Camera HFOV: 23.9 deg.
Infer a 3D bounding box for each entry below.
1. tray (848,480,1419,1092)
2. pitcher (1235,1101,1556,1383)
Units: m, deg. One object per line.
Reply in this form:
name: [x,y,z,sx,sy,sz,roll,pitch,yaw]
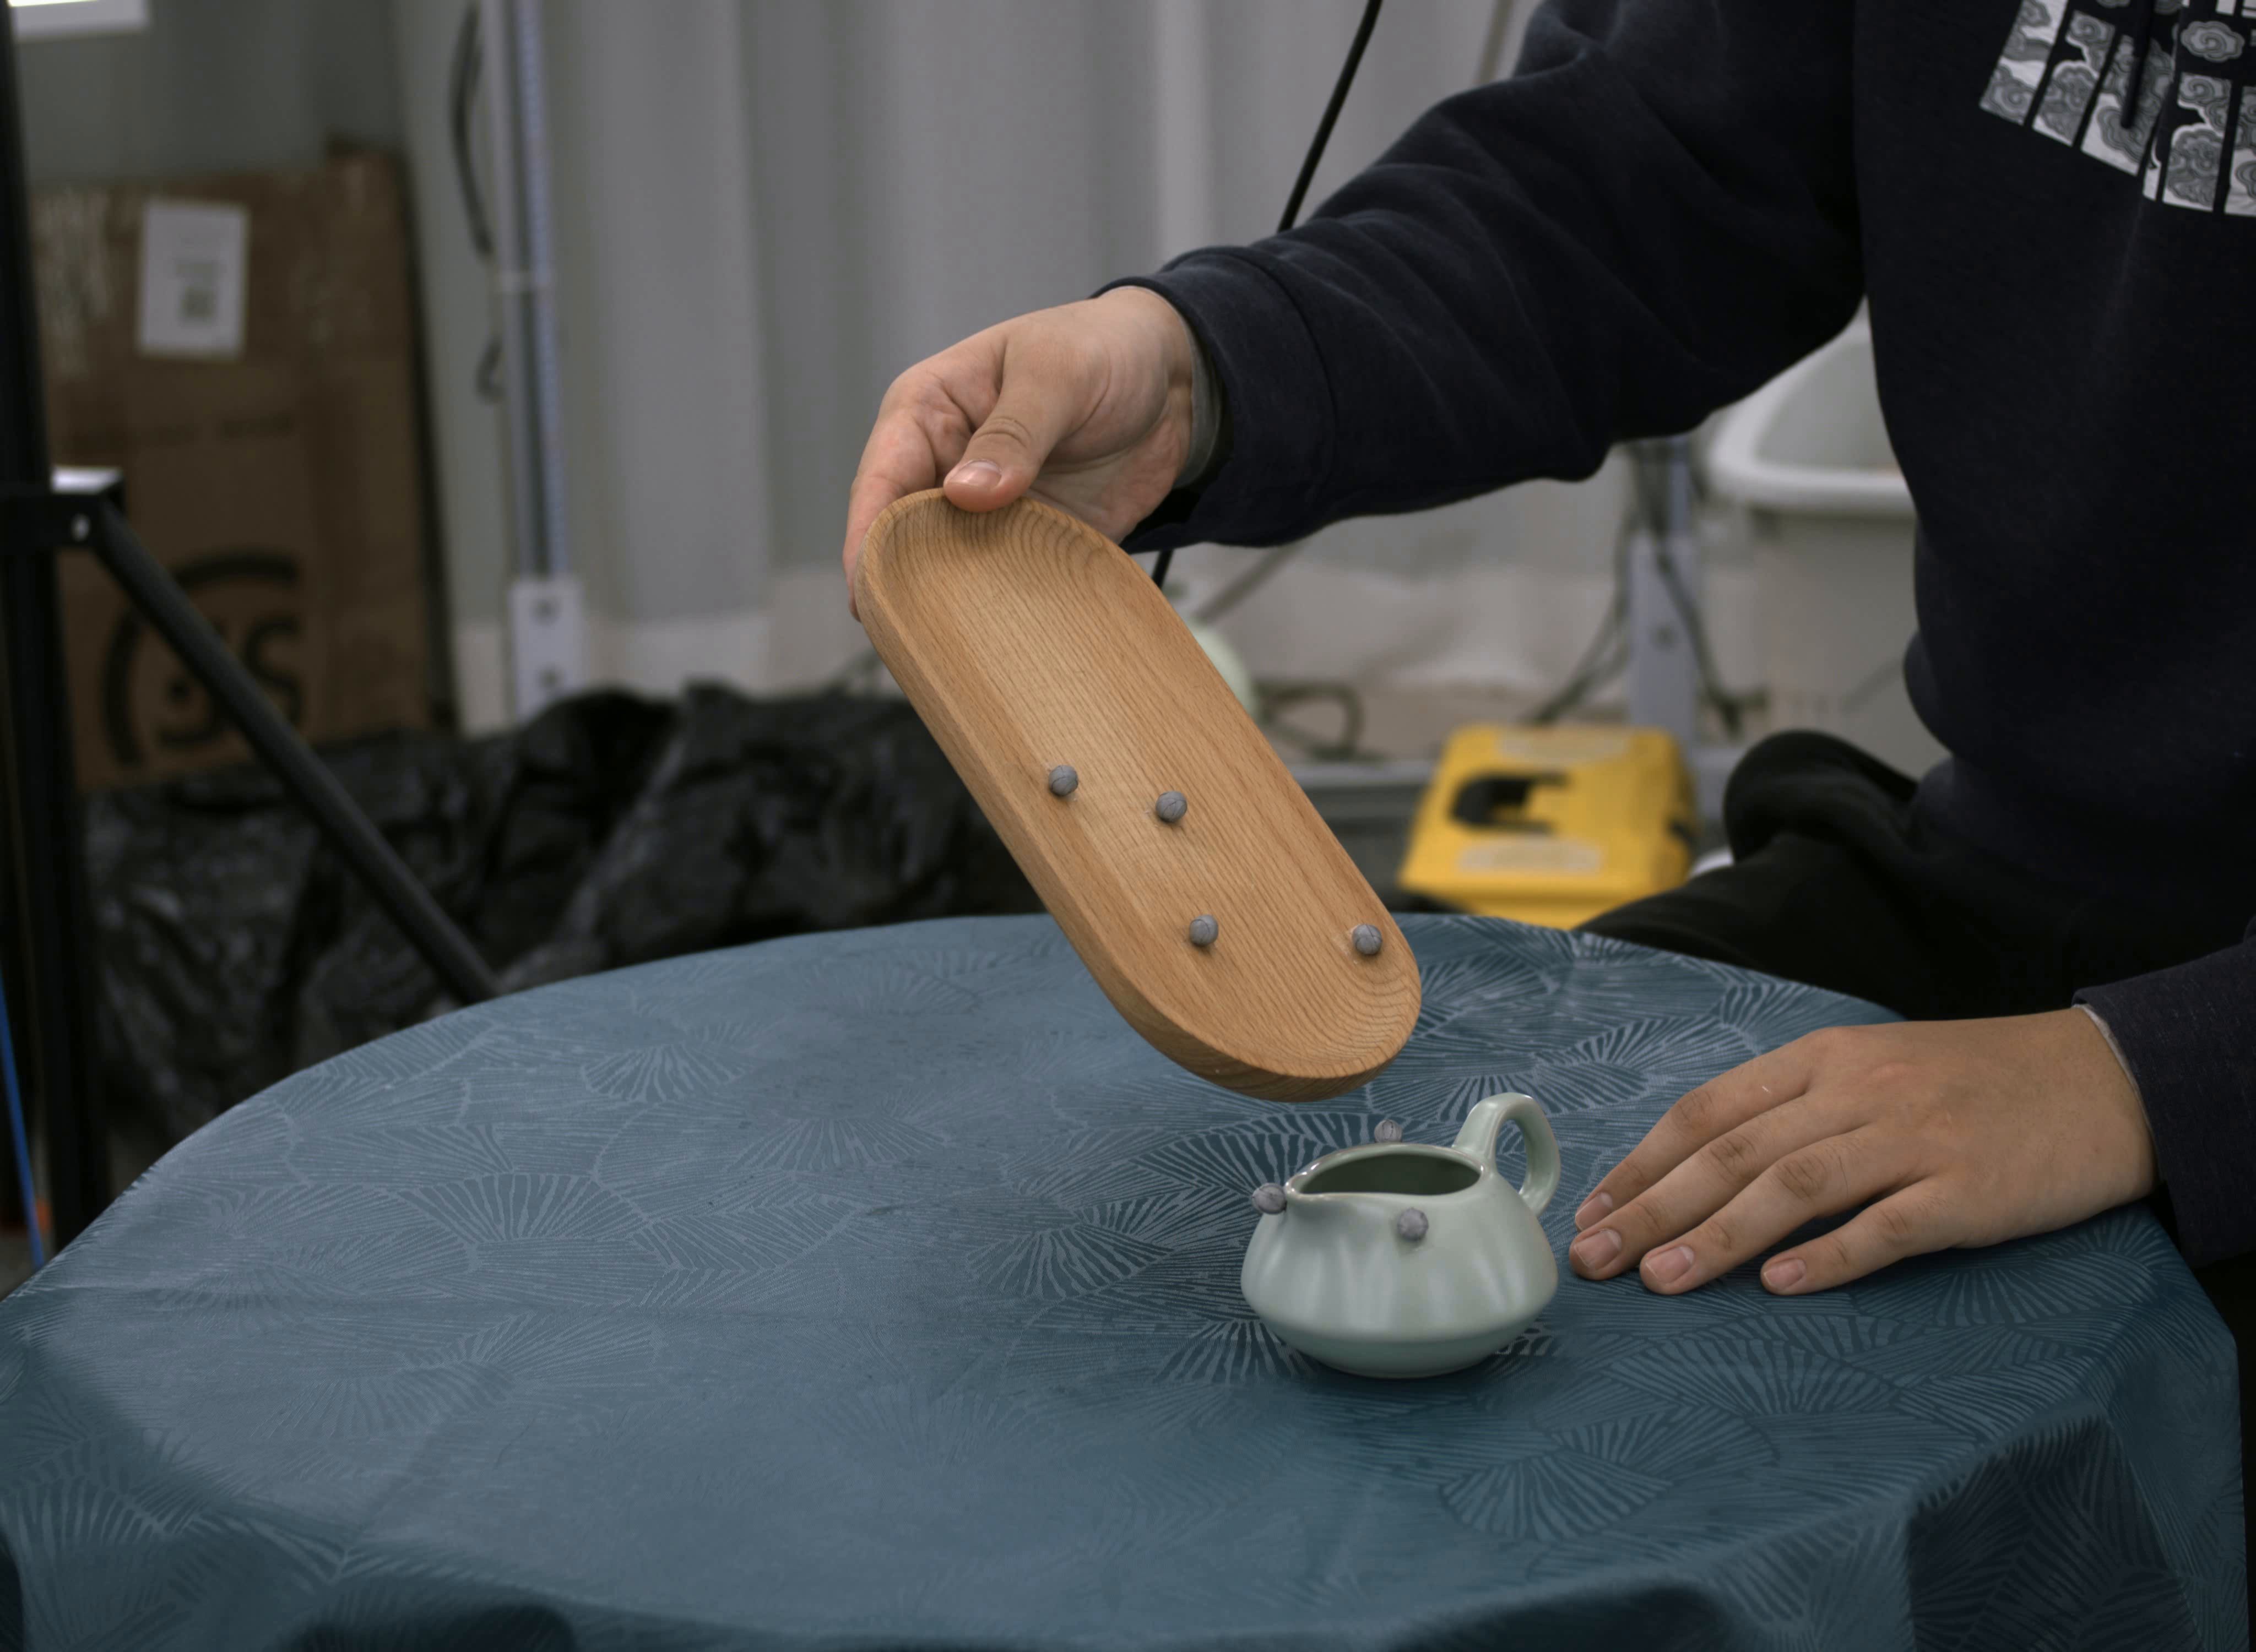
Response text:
tray: [-0.001,-0.013,1.492,0.099,0.020,0.236,-6,47,-39]
pitcher: [0.080,0.112,1.430,0.088,0.060,0.105,13,19,40]
